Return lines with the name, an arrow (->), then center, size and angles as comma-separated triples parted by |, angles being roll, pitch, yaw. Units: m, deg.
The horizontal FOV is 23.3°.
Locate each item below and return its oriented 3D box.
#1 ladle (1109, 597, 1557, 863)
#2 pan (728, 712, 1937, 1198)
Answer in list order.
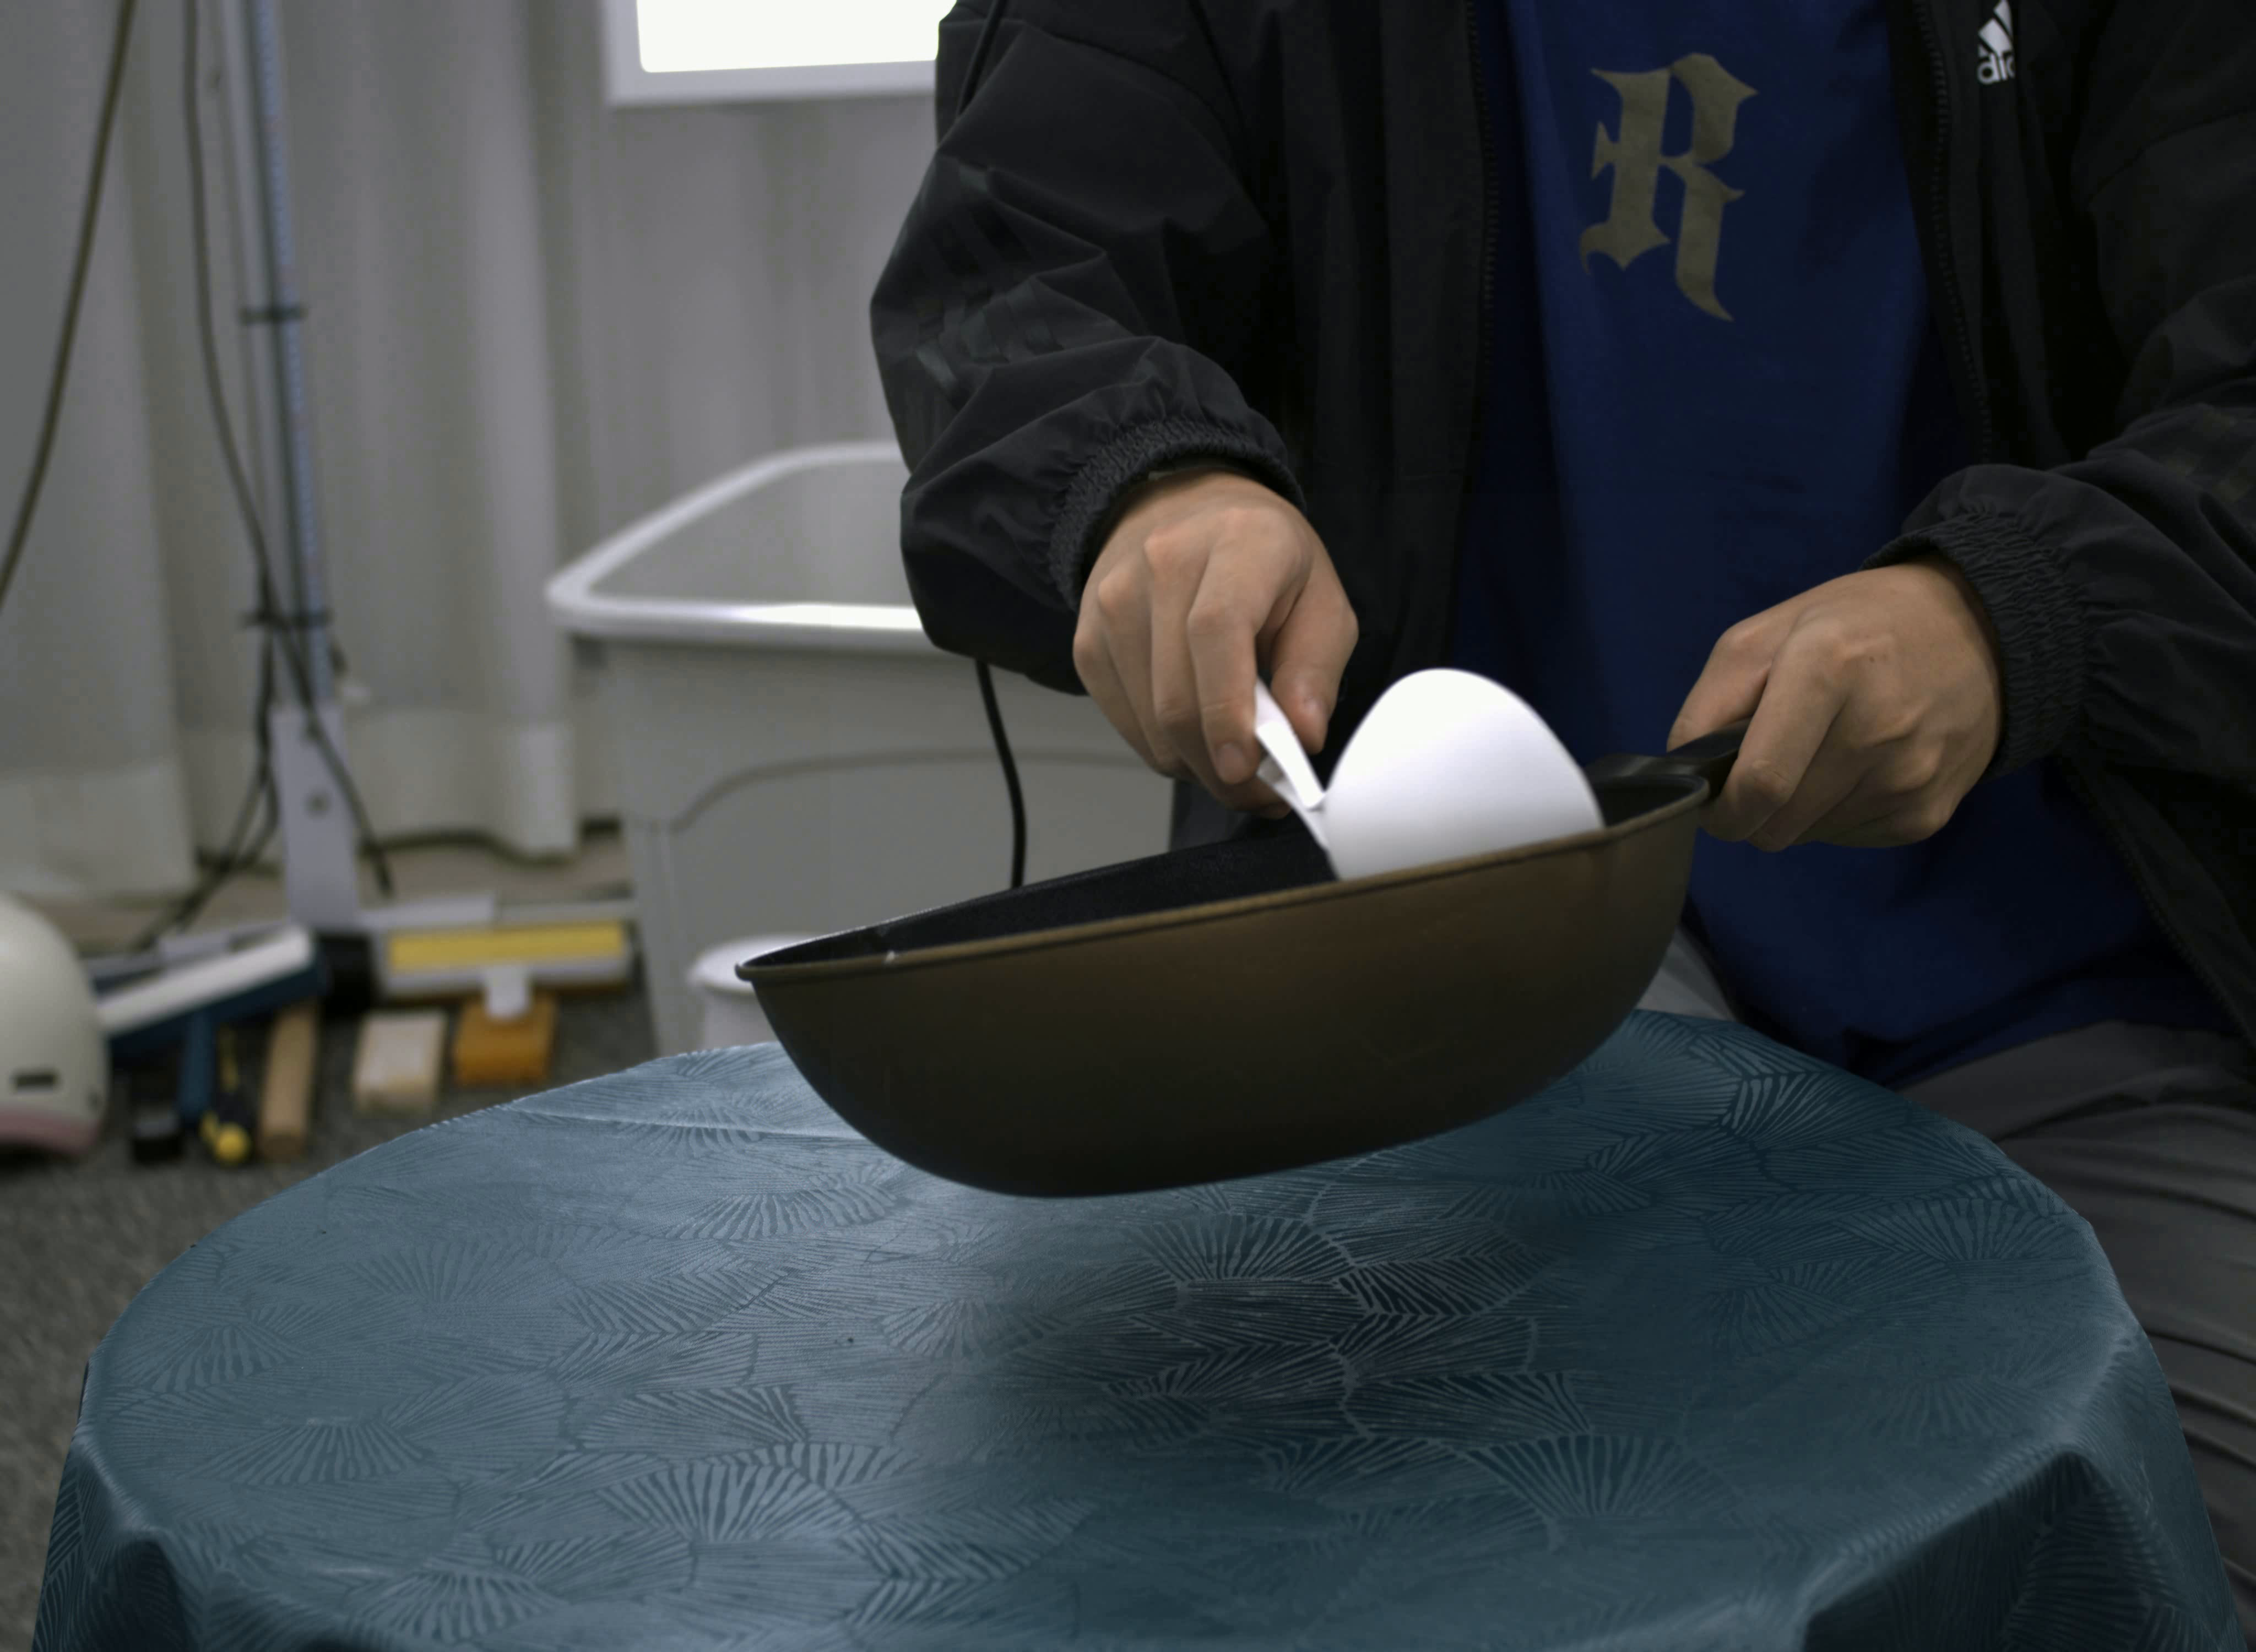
ladle -> 0.050, -0.032, 1.606 | 0.070, 0.090, 0.294 | -32, 11, -5
pan -> 0.094, 0.036, 1.607 | 0.288, 0.087, 0.462 | -8, 3, 44
